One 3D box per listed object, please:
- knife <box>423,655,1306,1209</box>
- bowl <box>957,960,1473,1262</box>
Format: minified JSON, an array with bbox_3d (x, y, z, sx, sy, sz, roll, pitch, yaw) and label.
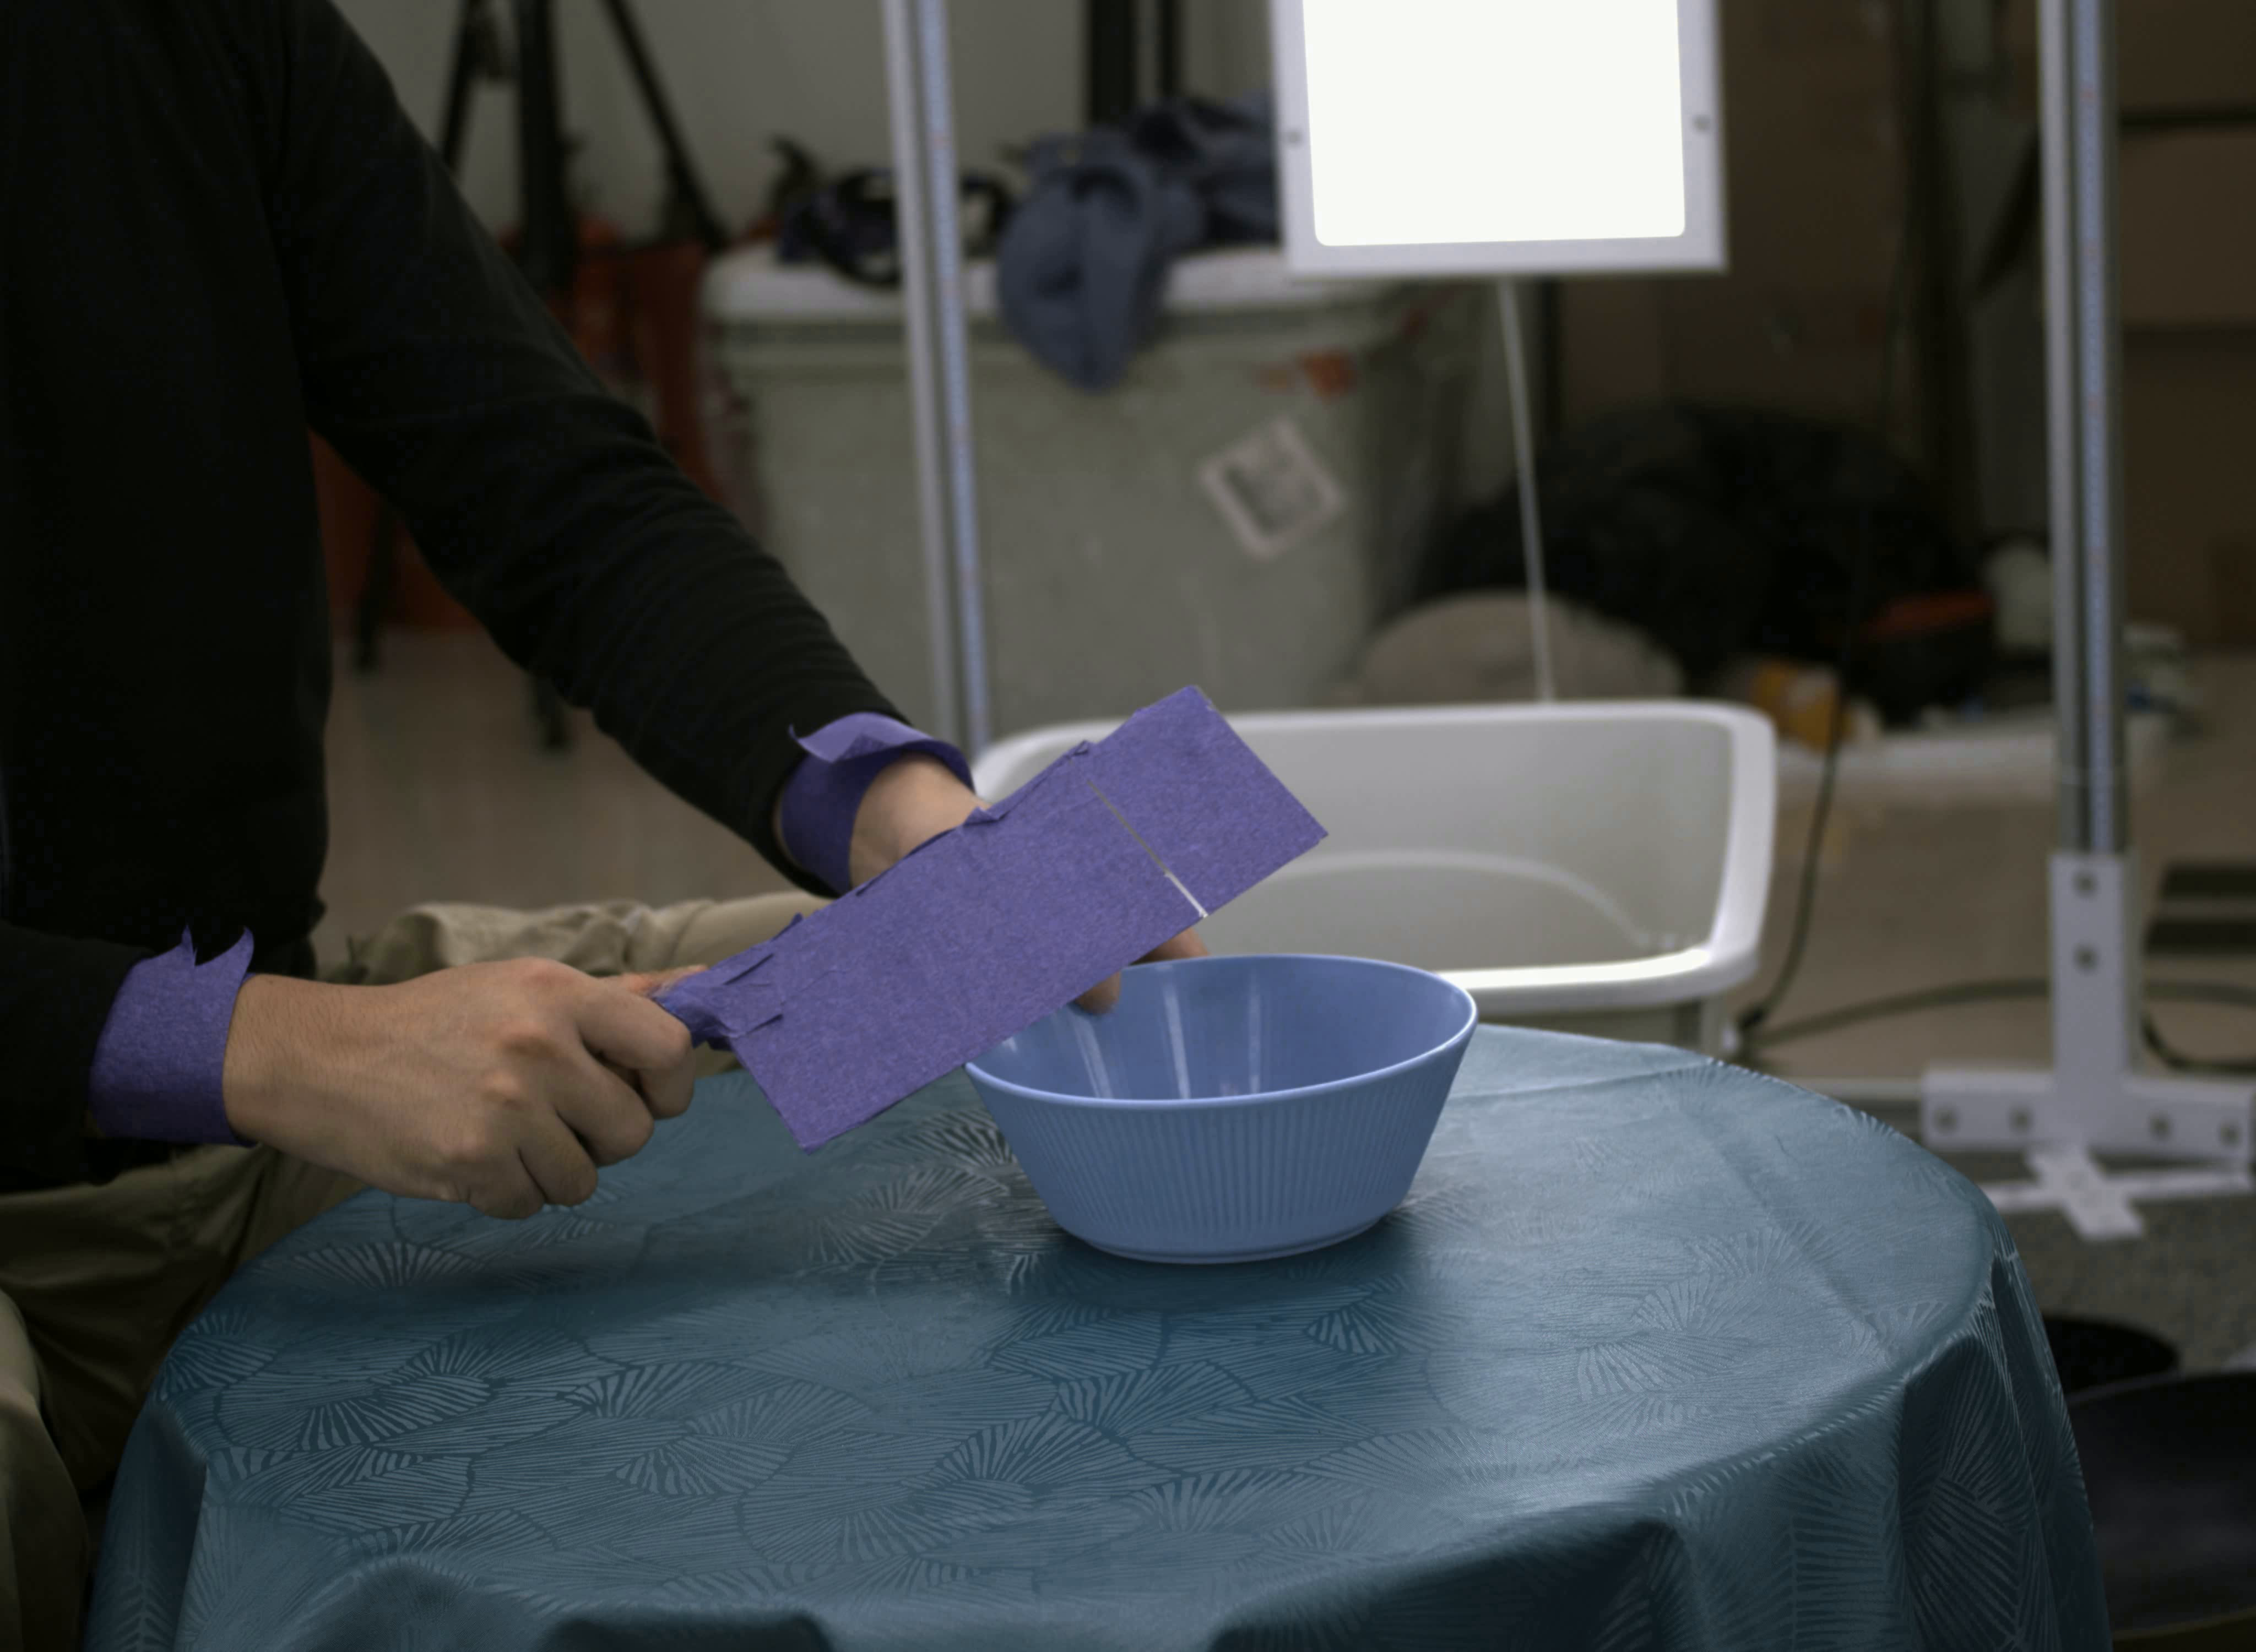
[{"bbox_3d":[-0.087,0.051,1.859,0.313,0.032,0.105,-33,49,-6],"label":"knife"},{"bbox_3d":[0.032,0.098,1.854,0.175,0.070,0.176,-5,13,0],"label":"bowl"}]
